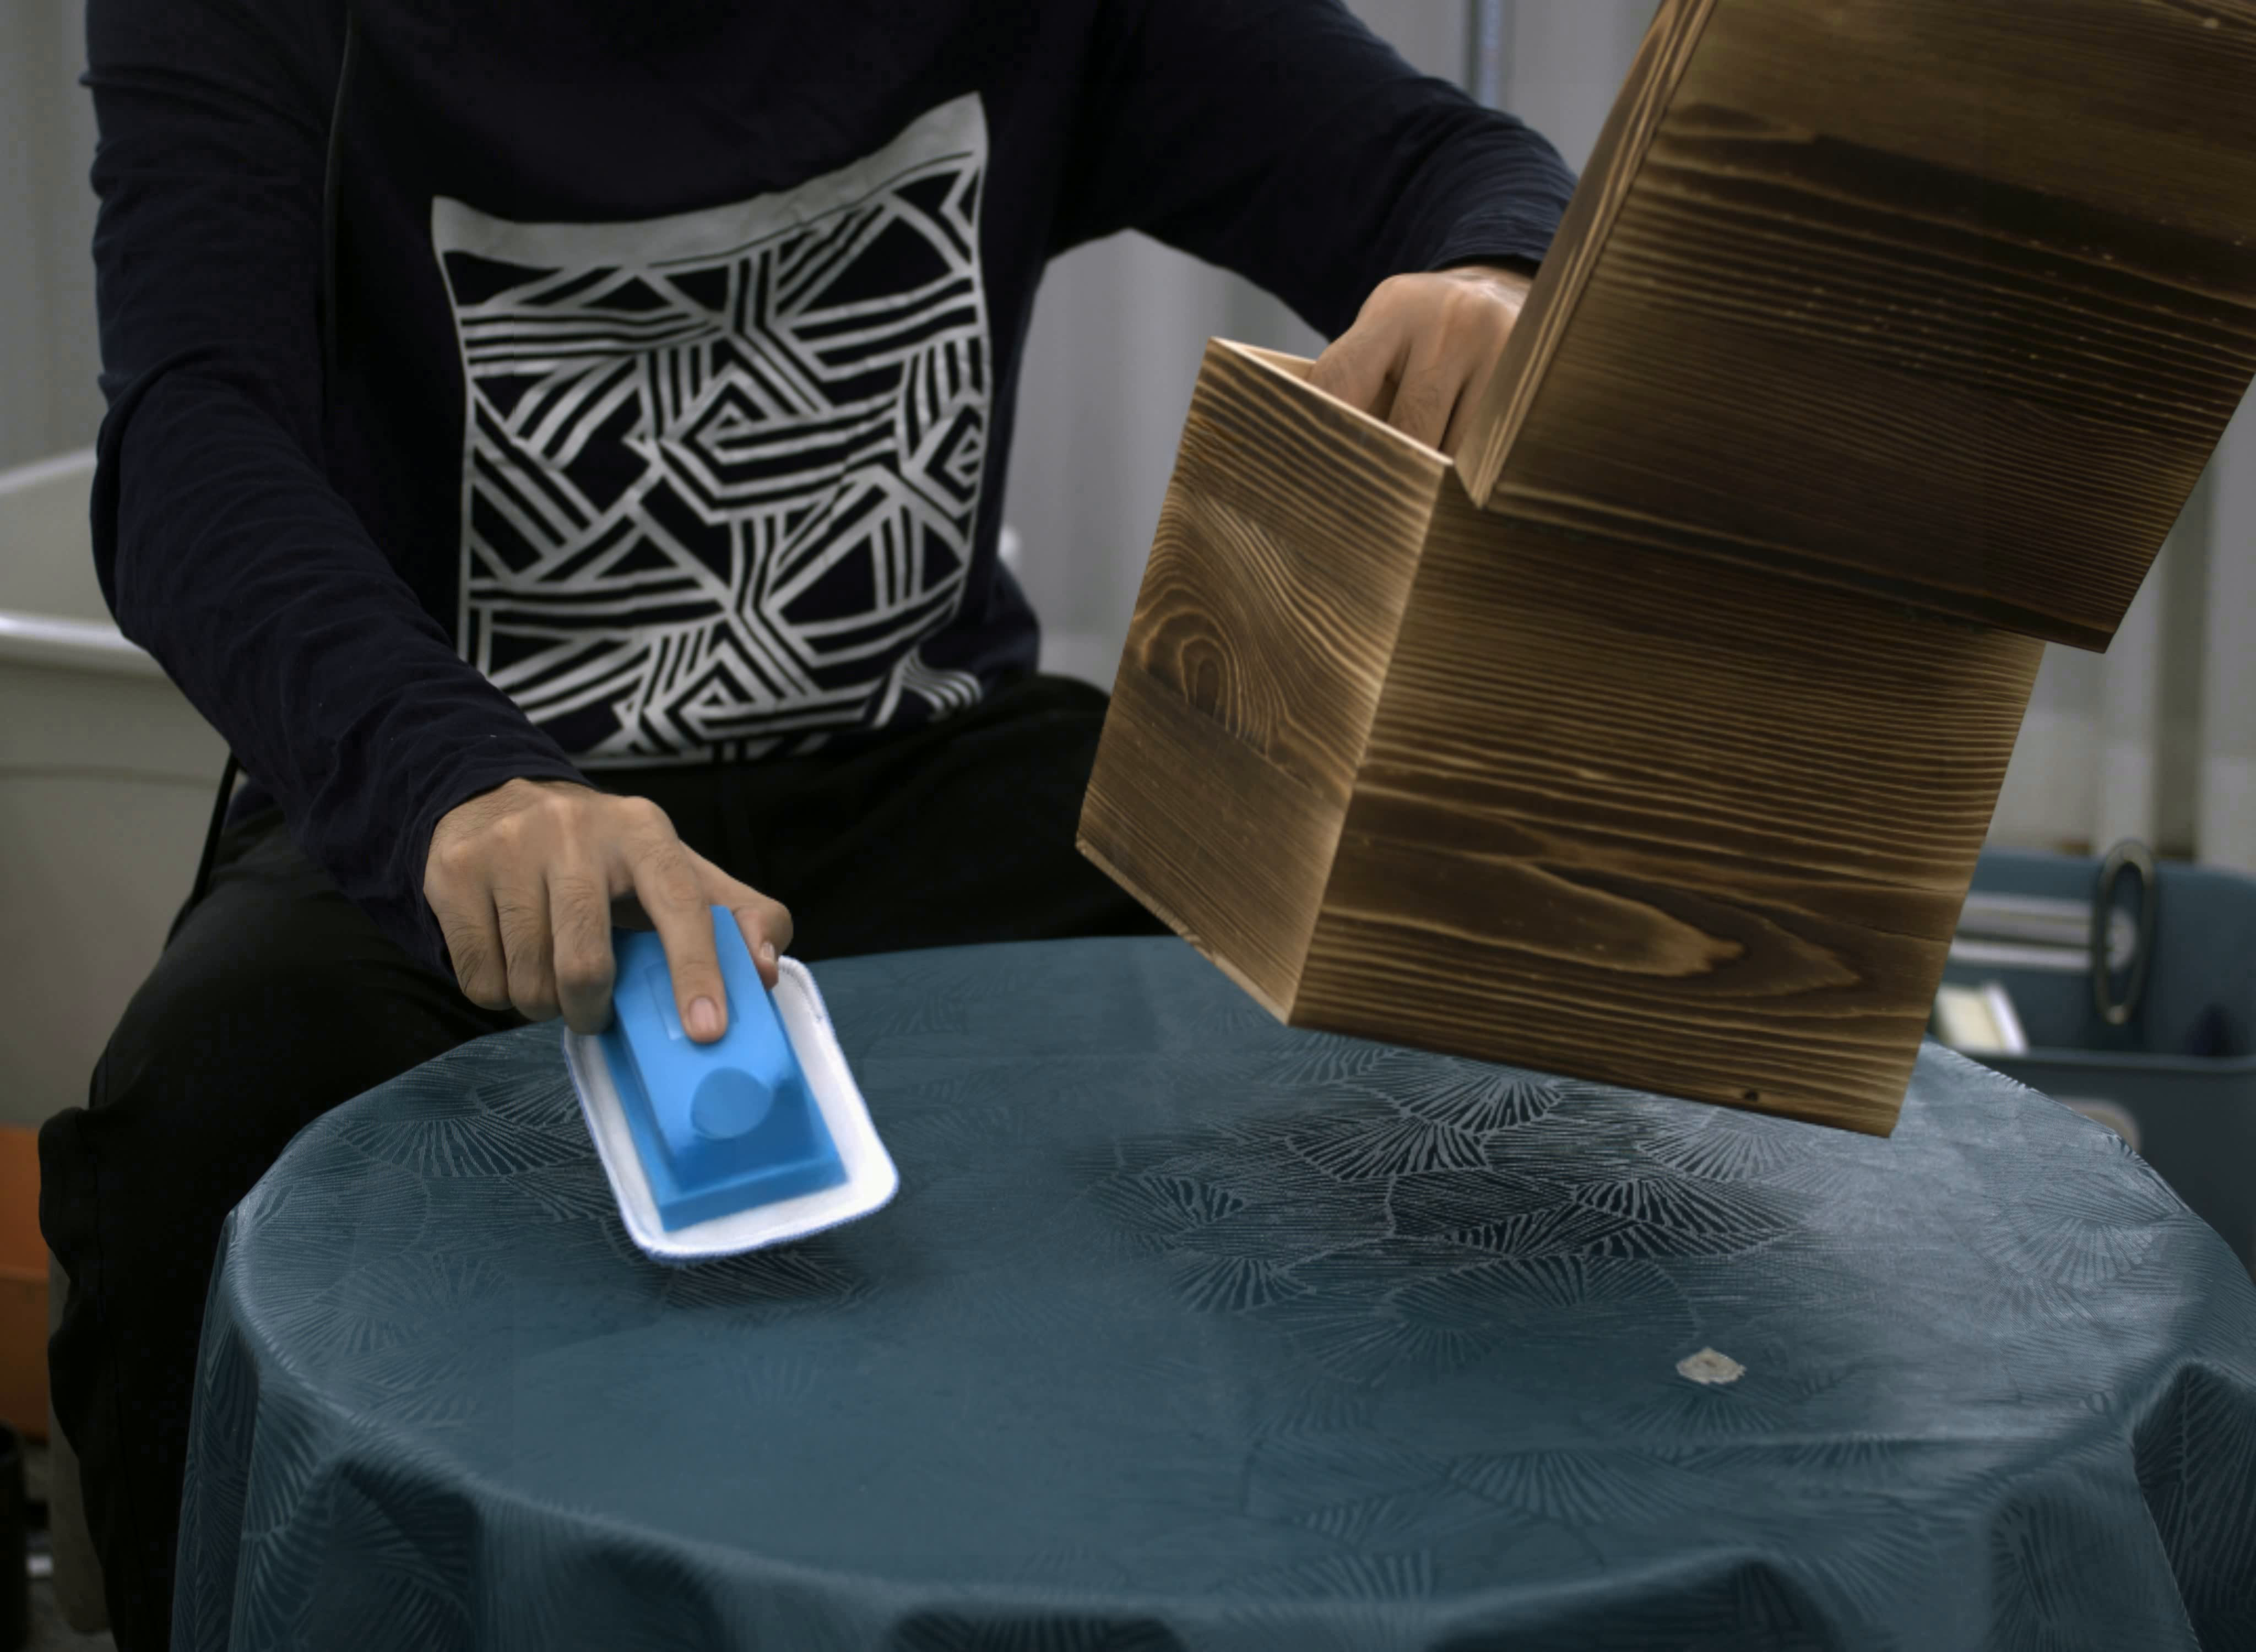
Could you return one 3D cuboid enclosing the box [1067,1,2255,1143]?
[{"bbox_3d":[0.170,-0.109,1.542,0.210,0.377,0.318,12,11,-22],"label":"box"}]

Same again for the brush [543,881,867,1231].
[{"bbox_3d":[-0.127,0.063,1.569,0.084,0.056,0.142,-9,35,-11],"label":"brush"}]
